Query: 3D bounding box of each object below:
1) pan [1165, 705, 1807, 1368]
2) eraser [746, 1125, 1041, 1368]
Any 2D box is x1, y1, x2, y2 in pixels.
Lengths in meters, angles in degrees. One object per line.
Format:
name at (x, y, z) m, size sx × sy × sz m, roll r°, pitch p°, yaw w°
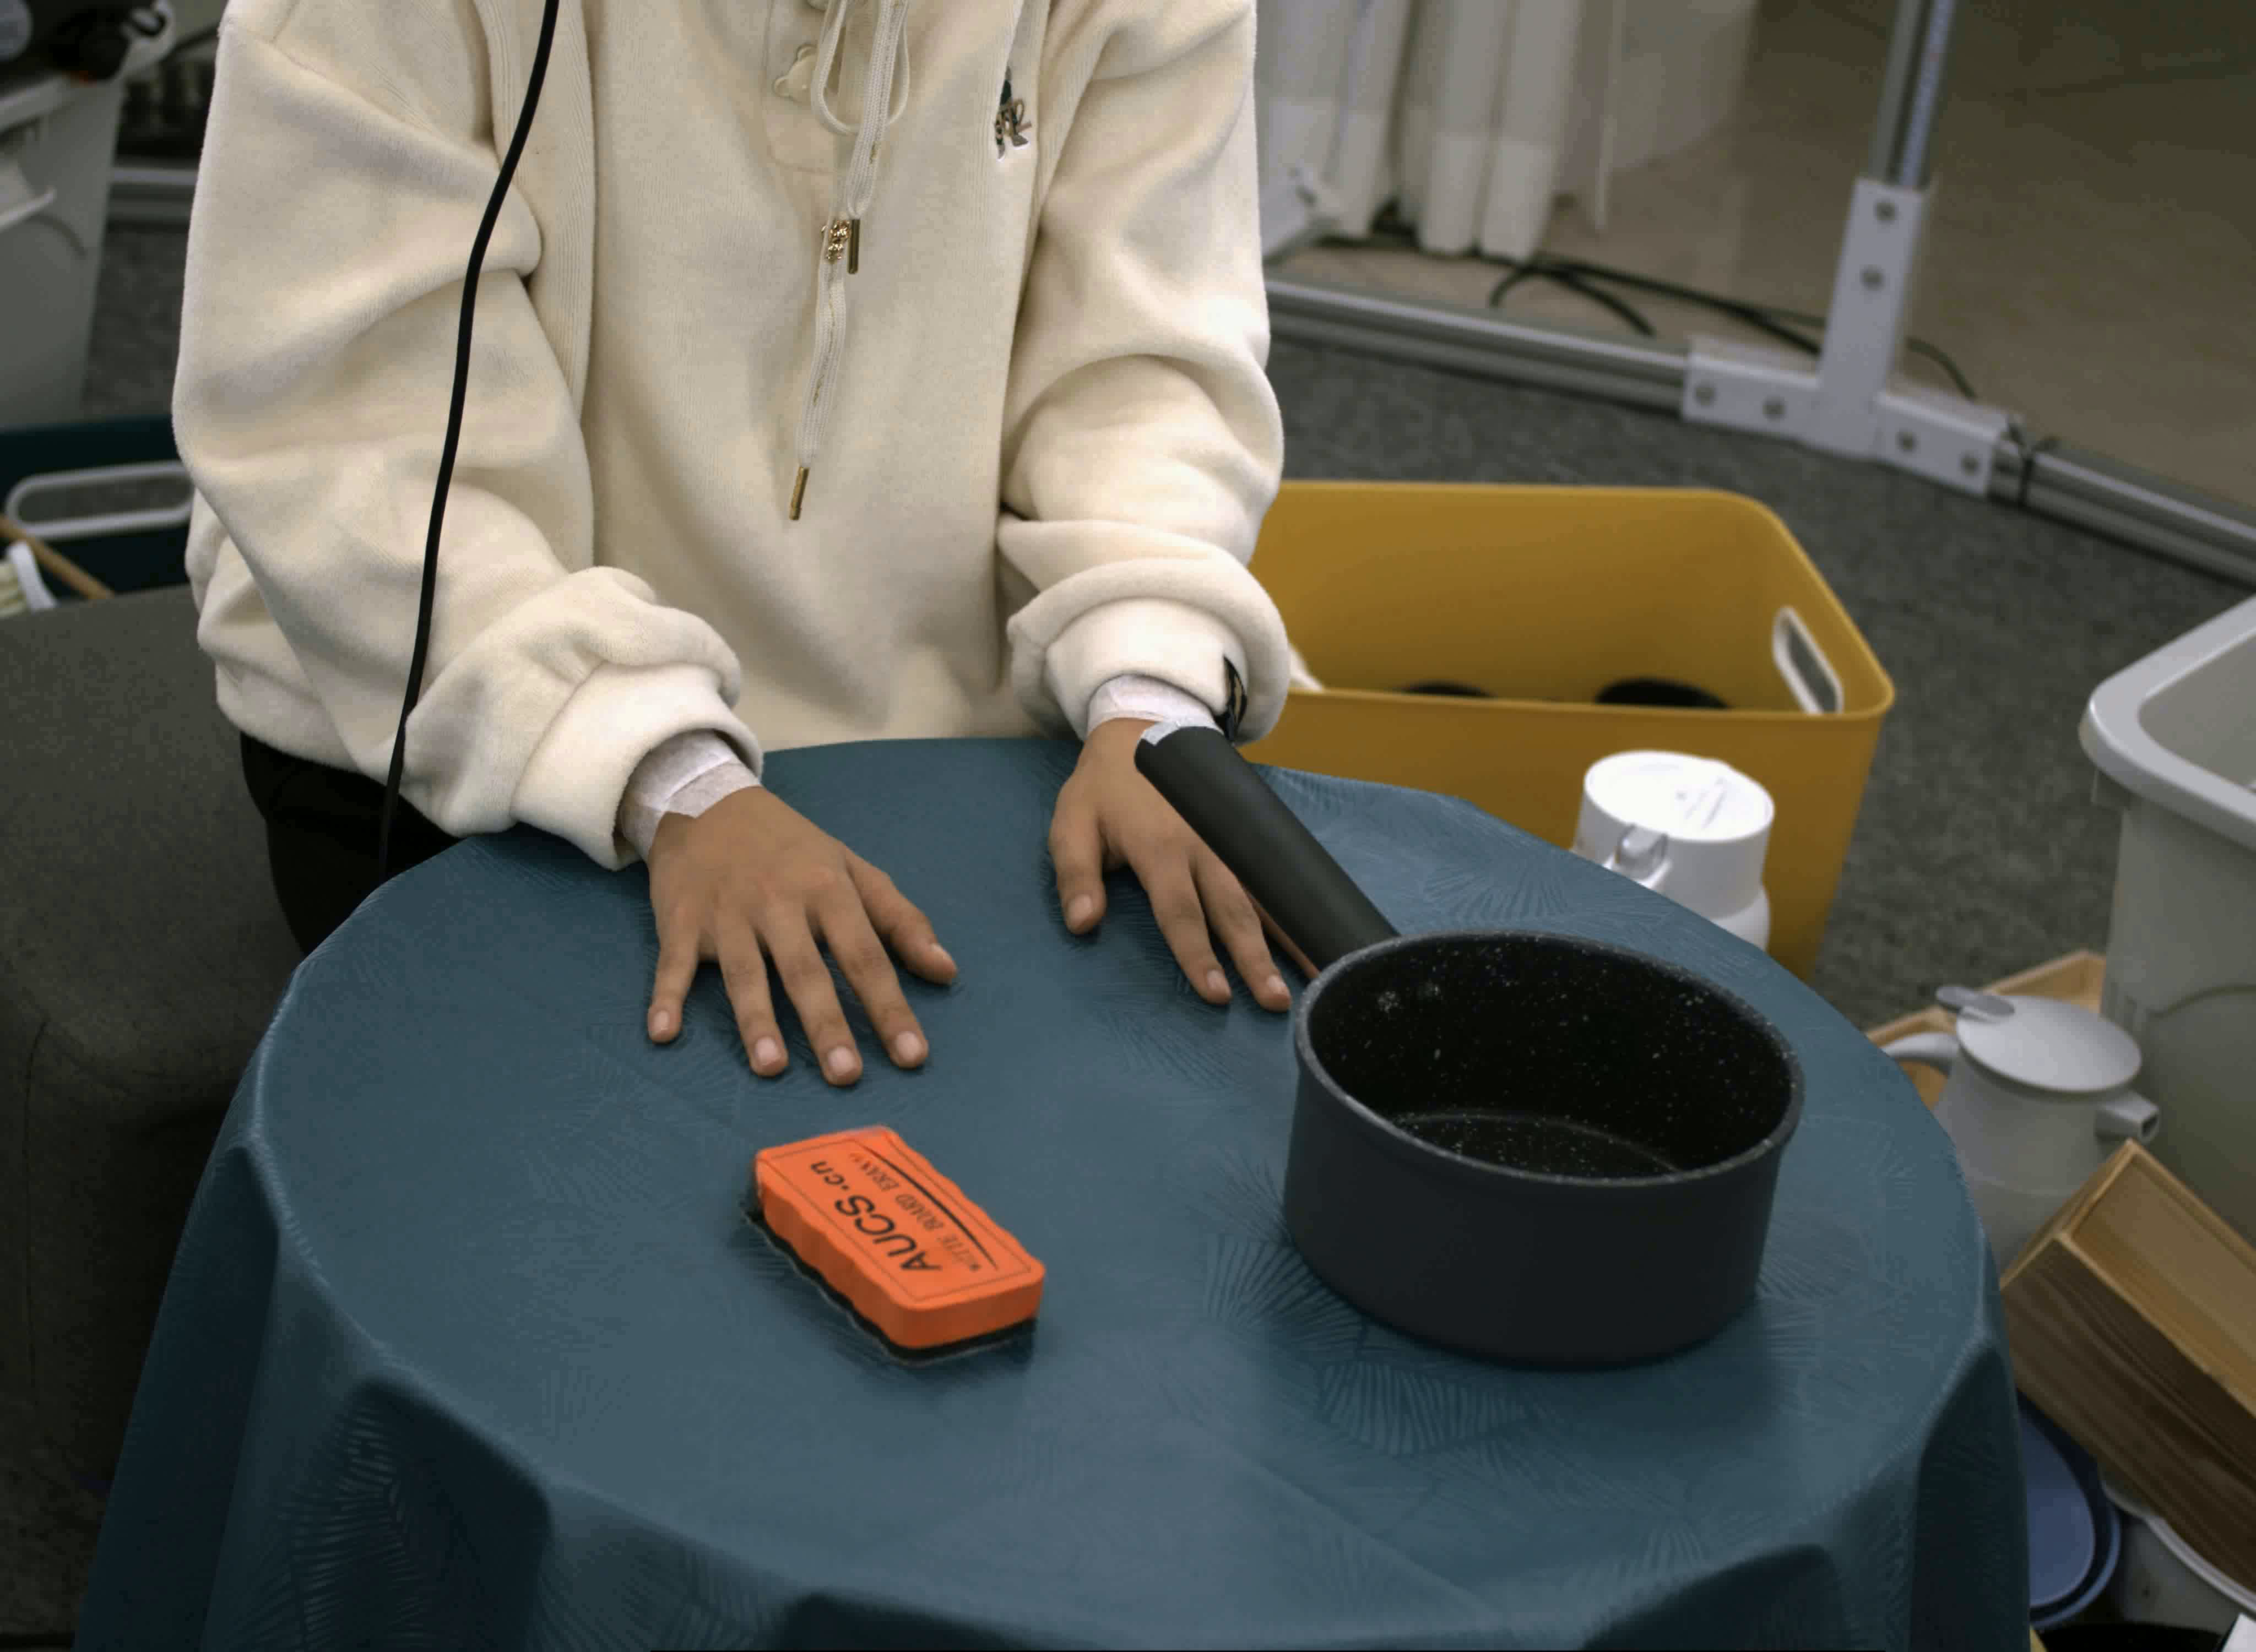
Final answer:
pan at (0.098, 0.069, 1.839) m, size 0.171 × 0.086 × 0.332 m, roll -8°, pitch 32°, yaw -28°
eraser at (-0.077, 0.136, 1.734) m, size 0.058 × 0.023 × 0.109 m, roll -12°, pitch 32°, yaw -31°
